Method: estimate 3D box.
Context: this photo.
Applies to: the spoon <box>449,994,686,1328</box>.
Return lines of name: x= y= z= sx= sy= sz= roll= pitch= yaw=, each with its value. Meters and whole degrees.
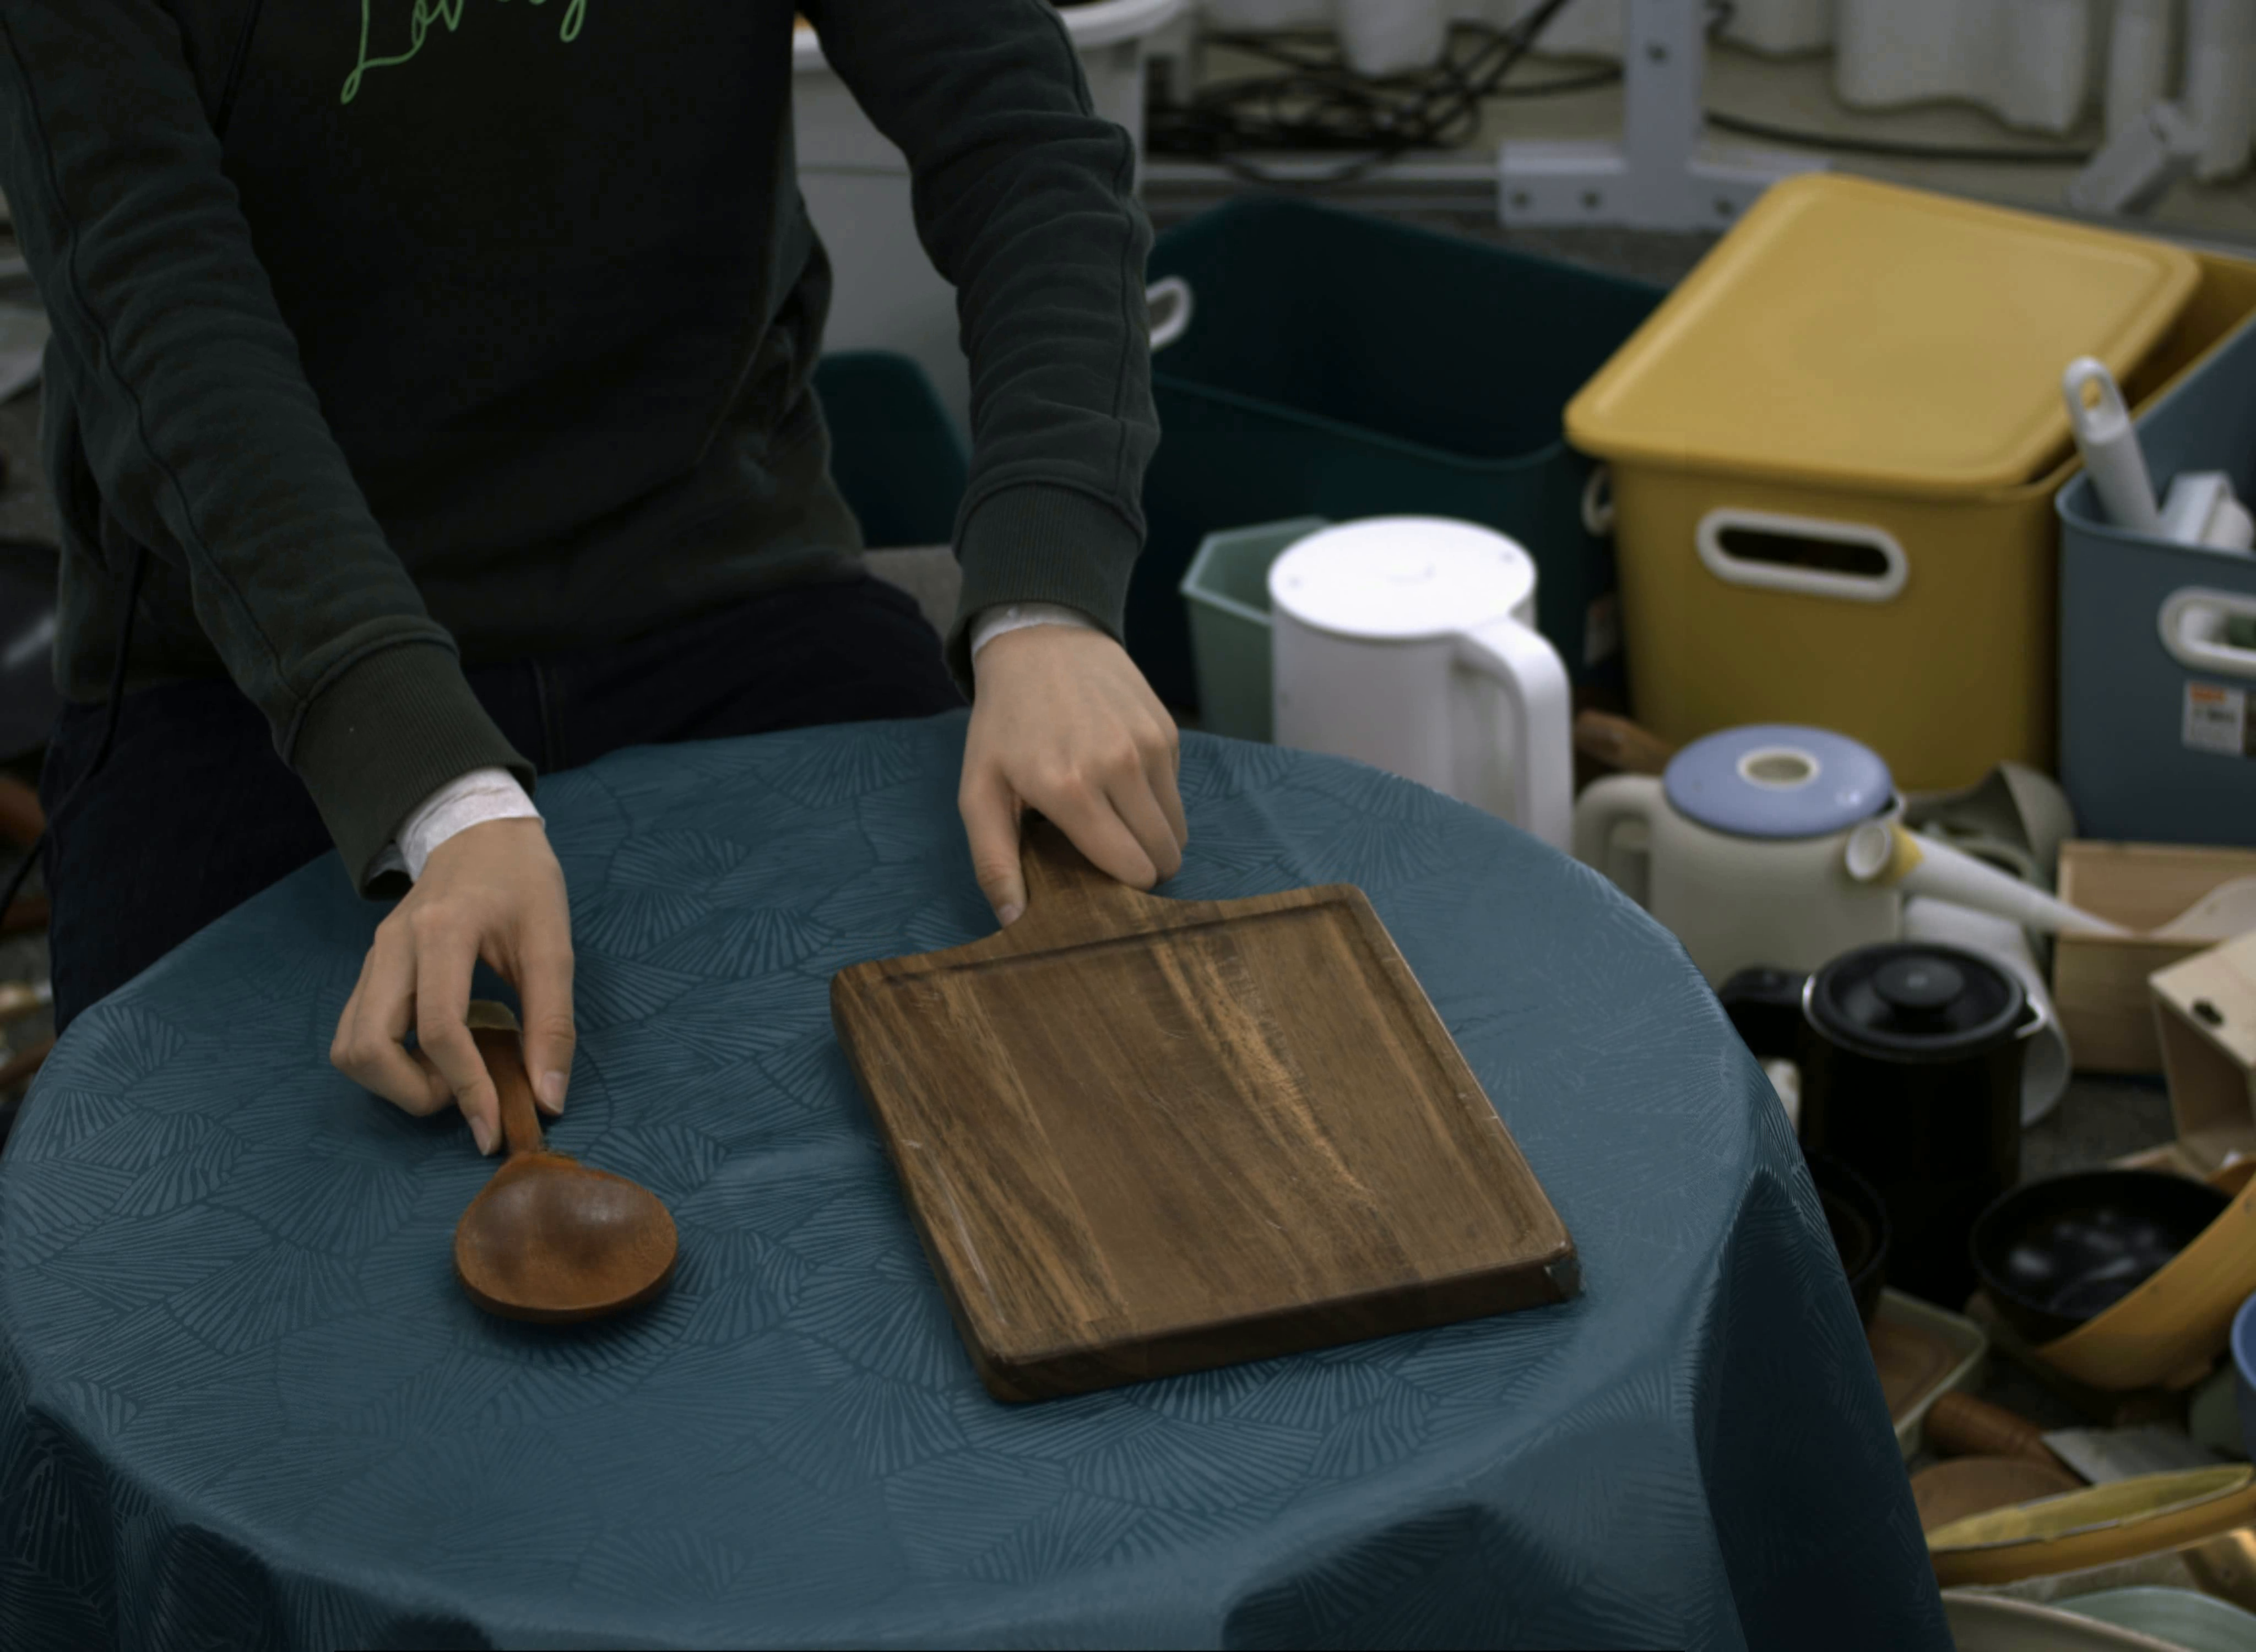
spoon: x=-0.198 y=0.112 z=1.879 sx=0.075 sy=0.017 sz=0.218 roll=-11 pitch=29 yaw=-12

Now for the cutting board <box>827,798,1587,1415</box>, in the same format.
cutting board: x=0.009 y=0.079 z=1.914 sx=0.201 sy=0.023 sz=0.356 roll=-10 pitch=30 yaw=-11
